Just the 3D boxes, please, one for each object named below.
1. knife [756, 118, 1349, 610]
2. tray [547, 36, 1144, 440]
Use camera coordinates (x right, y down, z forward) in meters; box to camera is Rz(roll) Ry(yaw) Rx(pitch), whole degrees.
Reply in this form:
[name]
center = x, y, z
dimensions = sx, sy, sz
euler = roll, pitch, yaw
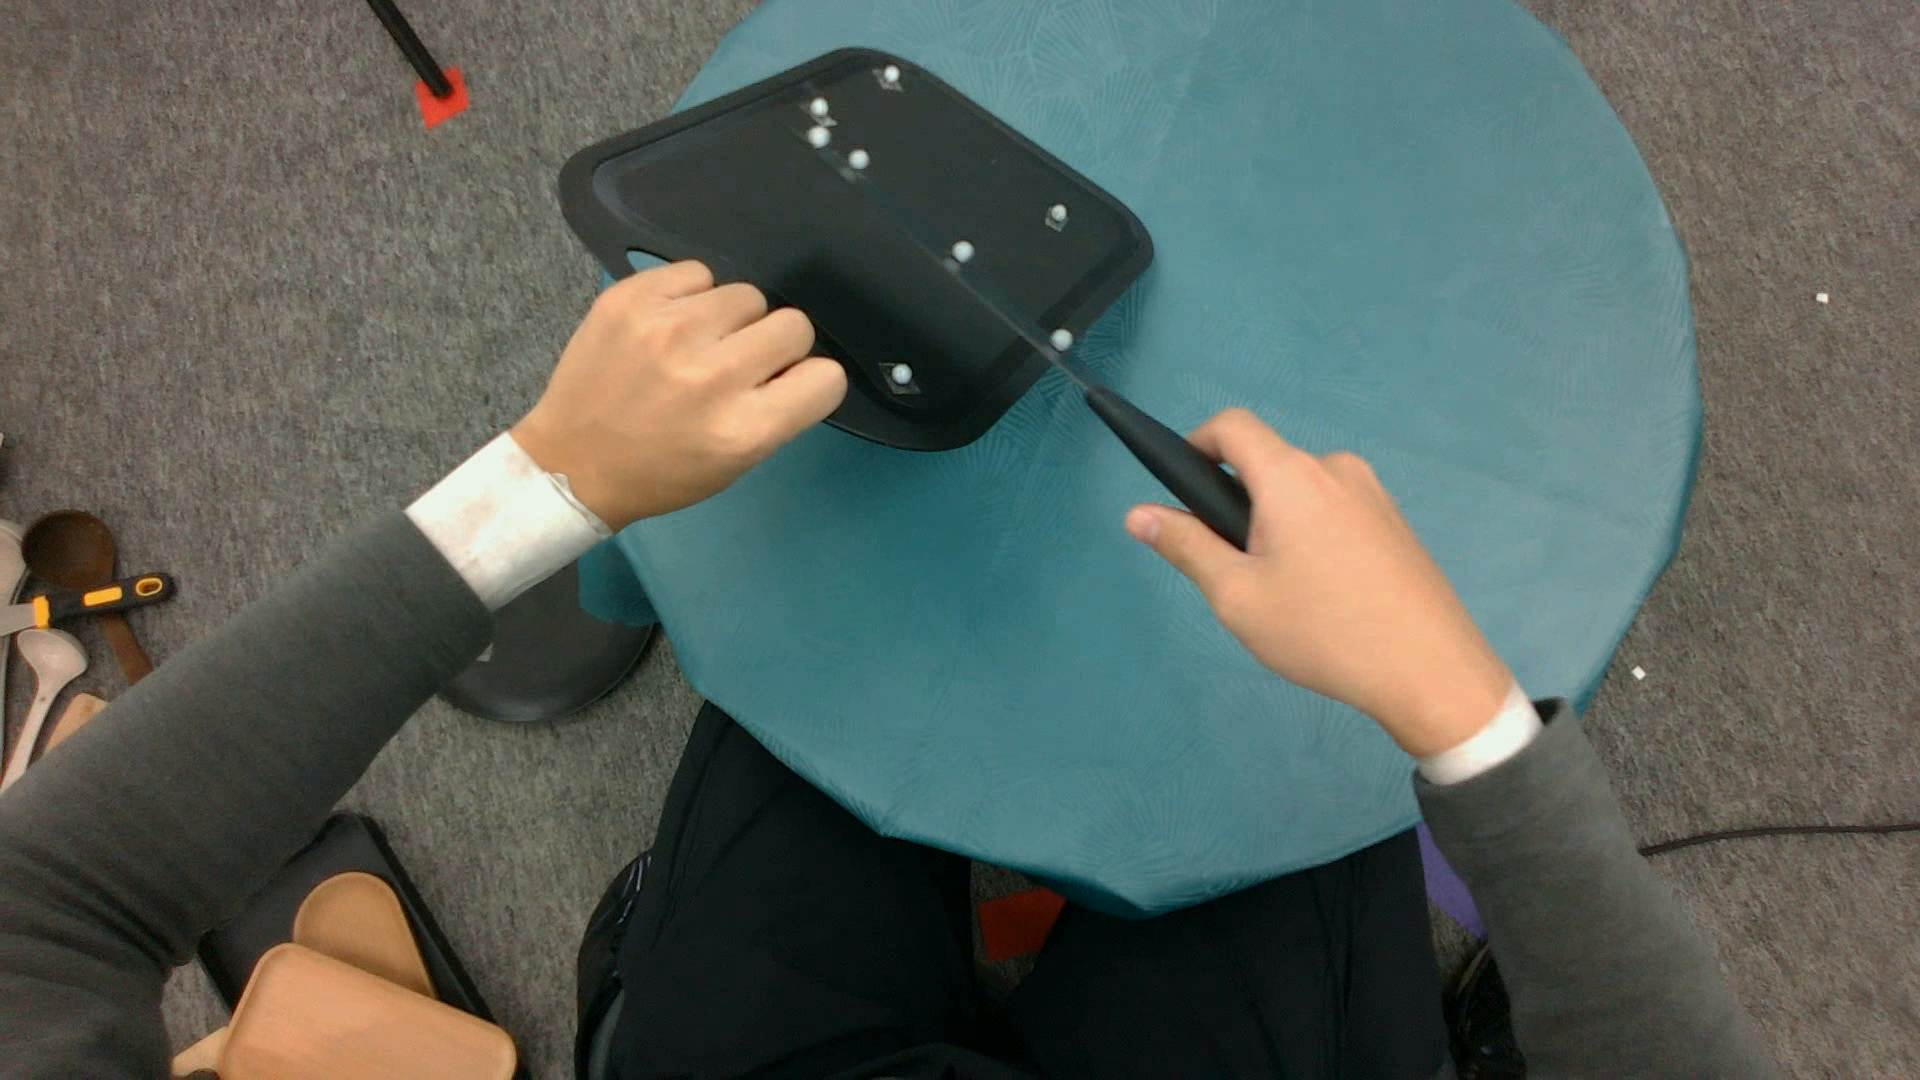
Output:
[knife]
center = 0.034, -0.078, 0.554
dimensions = 0.302, 0.081, 0.021
euler = 43, 108, 16
[tray]
center = -0.038, -0.157, 0.654
dimensions = 0.211, 0.010, 0.327
euler = 36, 40, 5
